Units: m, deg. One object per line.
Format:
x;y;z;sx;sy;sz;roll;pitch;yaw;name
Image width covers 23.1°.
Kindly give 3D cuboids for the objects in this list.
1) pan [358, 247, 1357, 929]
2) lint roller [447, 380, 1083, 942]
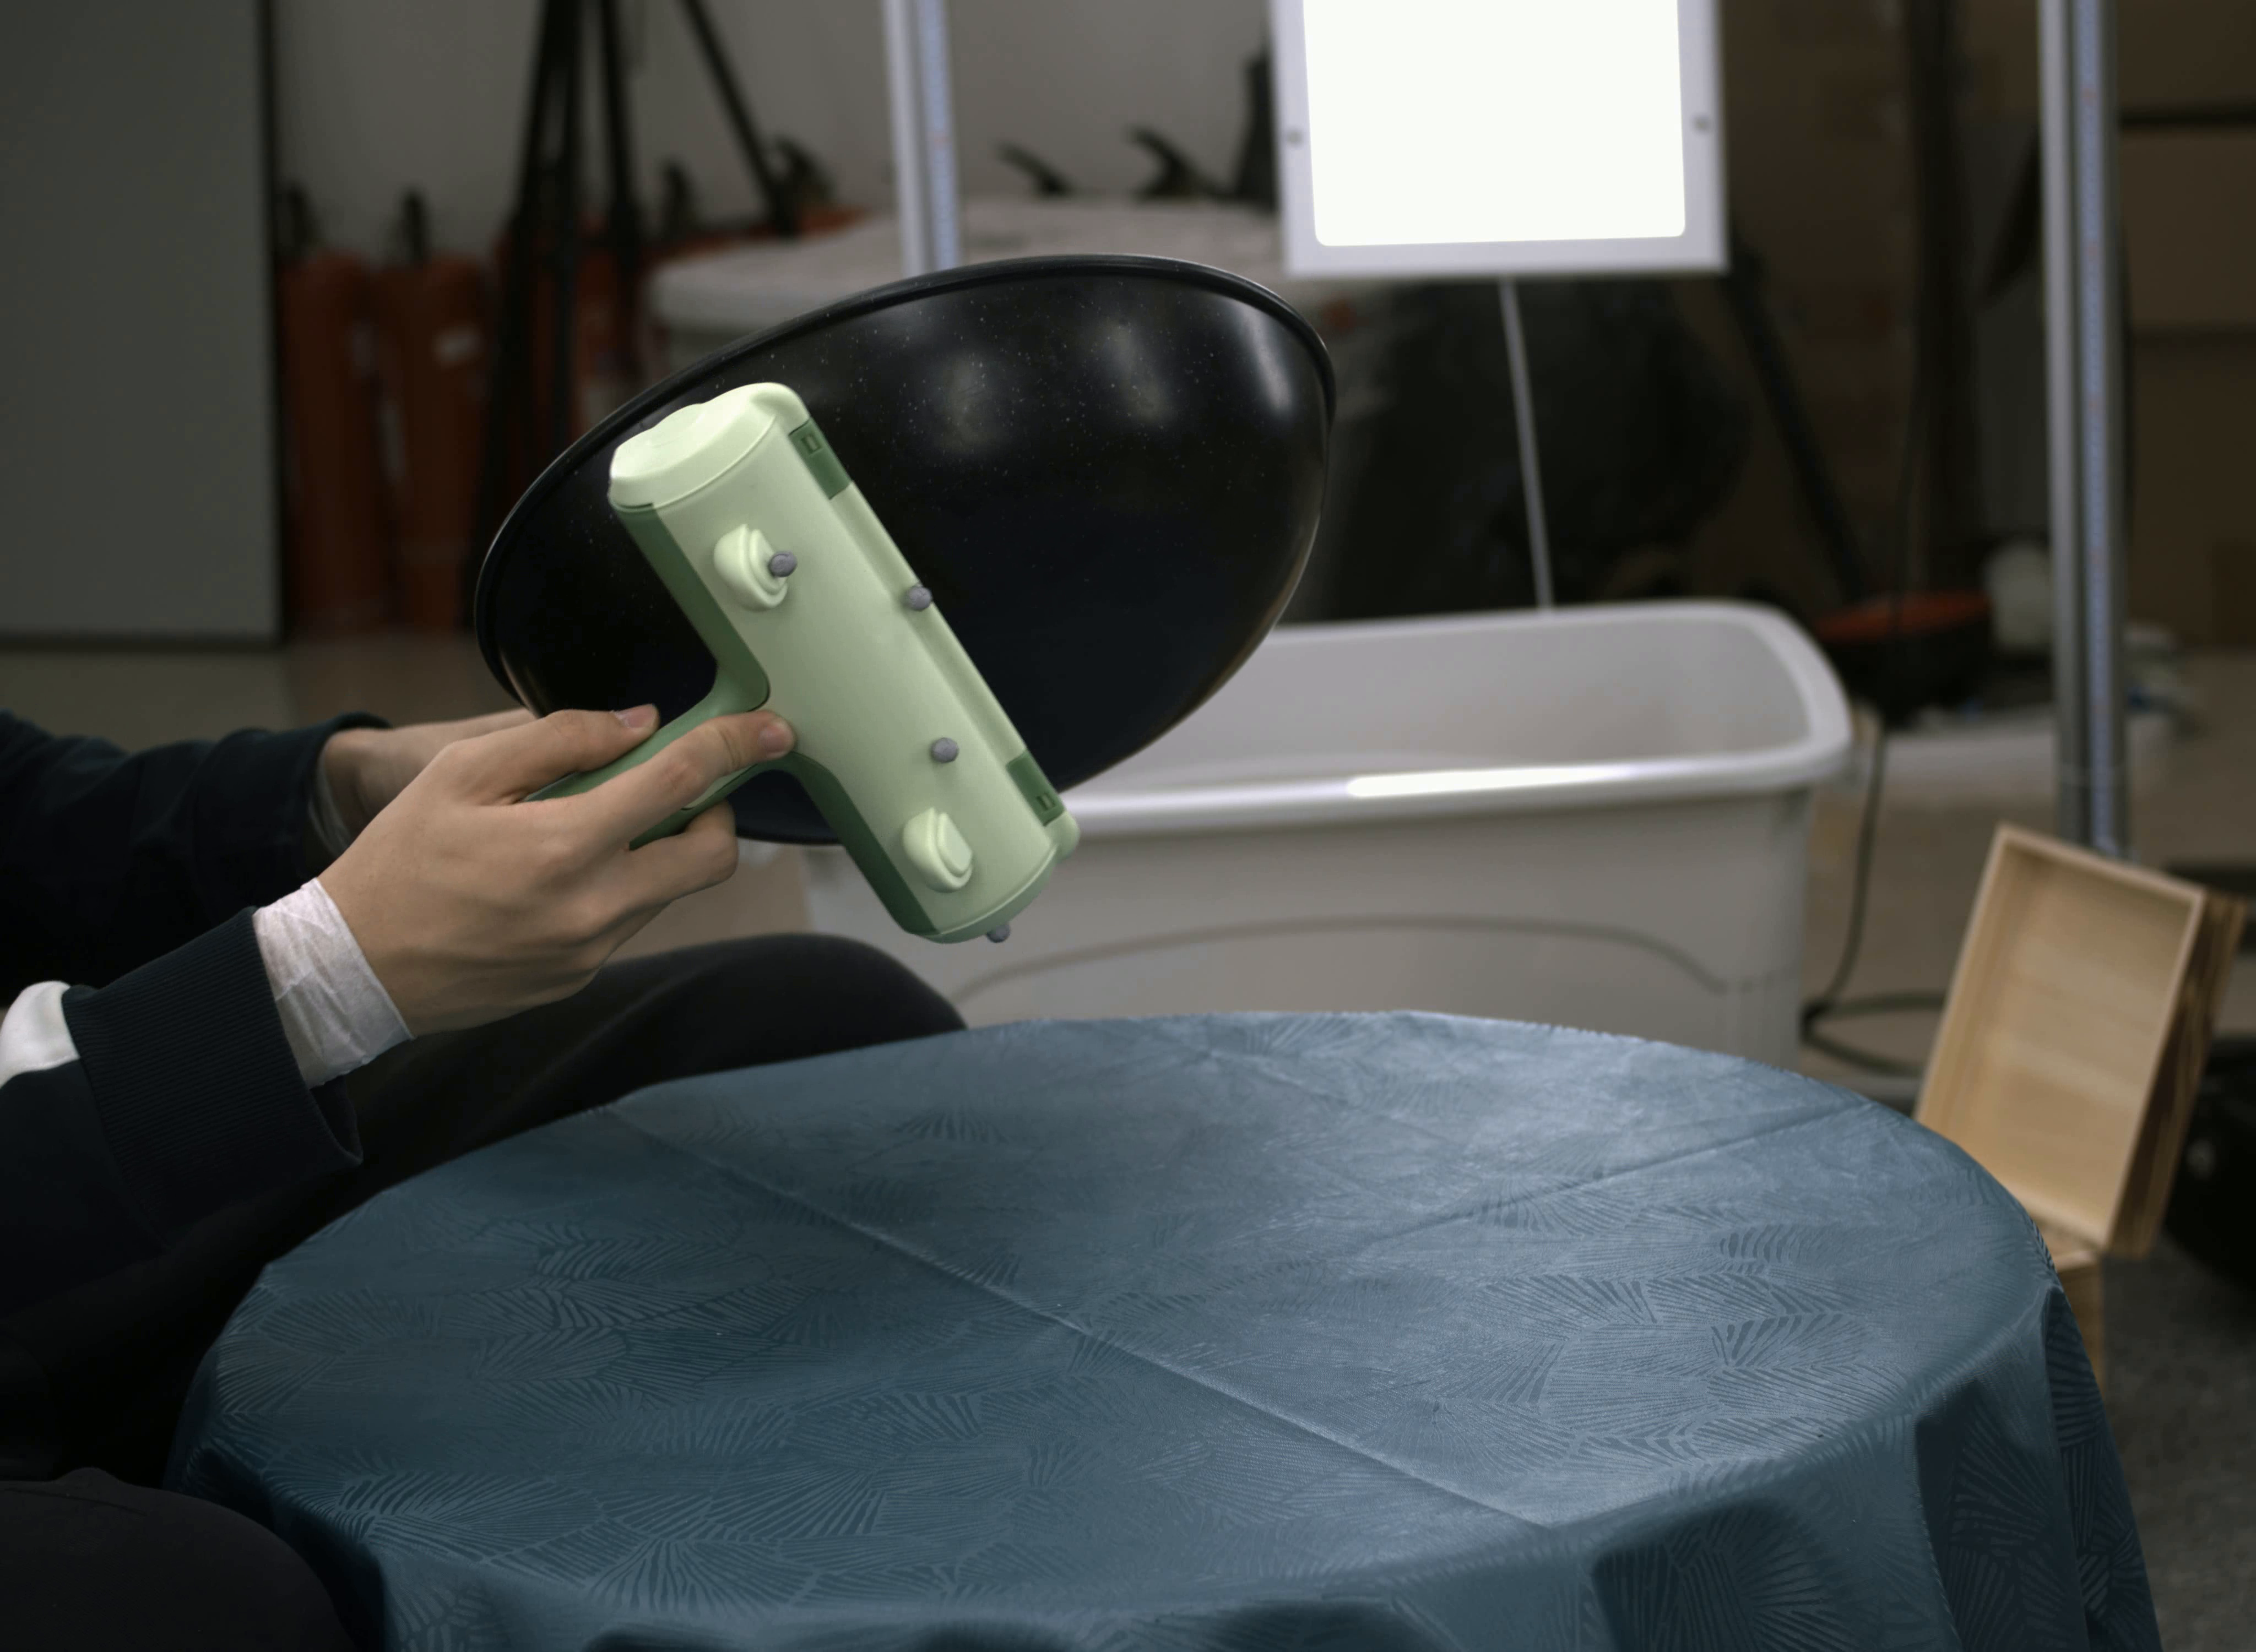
-0.116;-0.041;1.927;0.302;0.112;0.487;9;-35;-43;pan
-0.133;-0.015;1.741;0.182;0.197;0.083;-37;25;-4;lint roller
